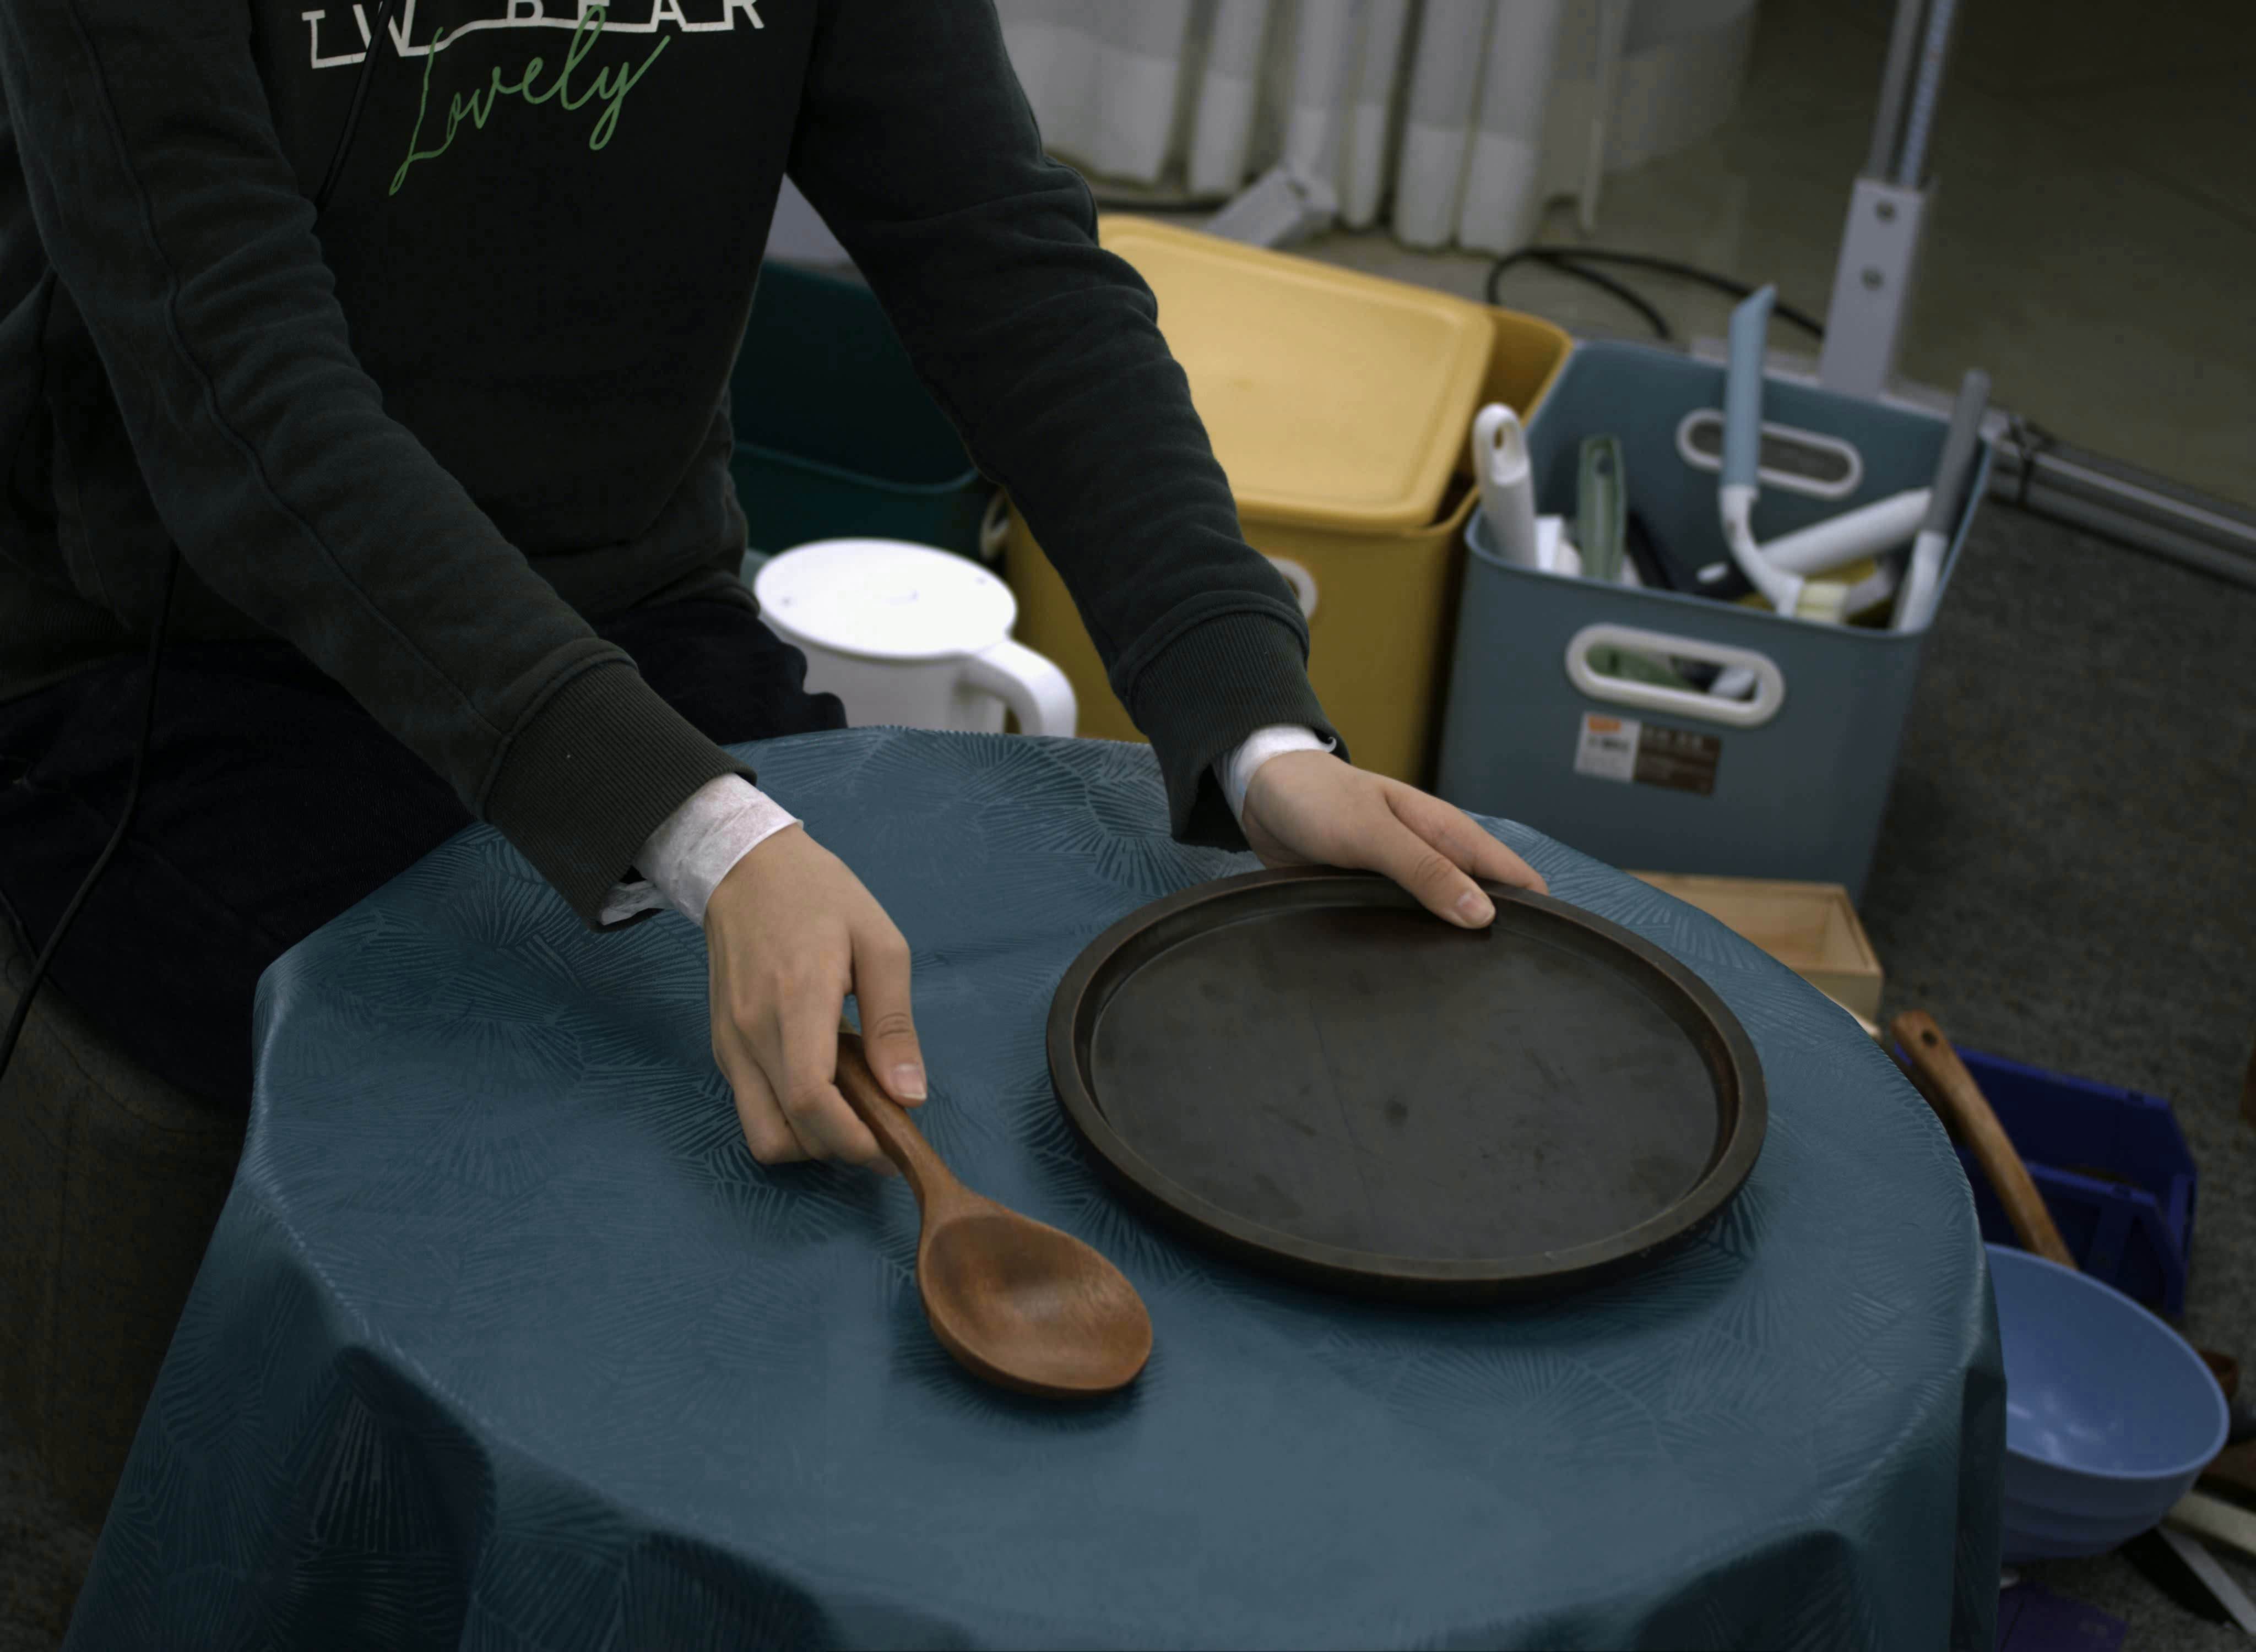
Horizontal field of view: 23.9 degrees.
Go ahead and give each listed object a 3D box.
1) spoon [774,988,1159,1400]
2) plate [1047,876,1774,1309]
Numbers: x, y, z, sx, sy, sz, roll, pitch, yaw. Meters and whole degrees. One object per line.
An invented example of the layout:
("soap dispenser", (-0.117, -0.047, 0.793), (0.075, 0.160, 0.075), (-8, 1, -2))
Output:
("spoon", (-0.061, 0.121, 1.747), (0.075, 0.017, 0.218), (-8, 39, -30))
("plate", (0.097, 0.090, 1.844), (0.254, 0.029, 0.256), (5, 32, -3))
